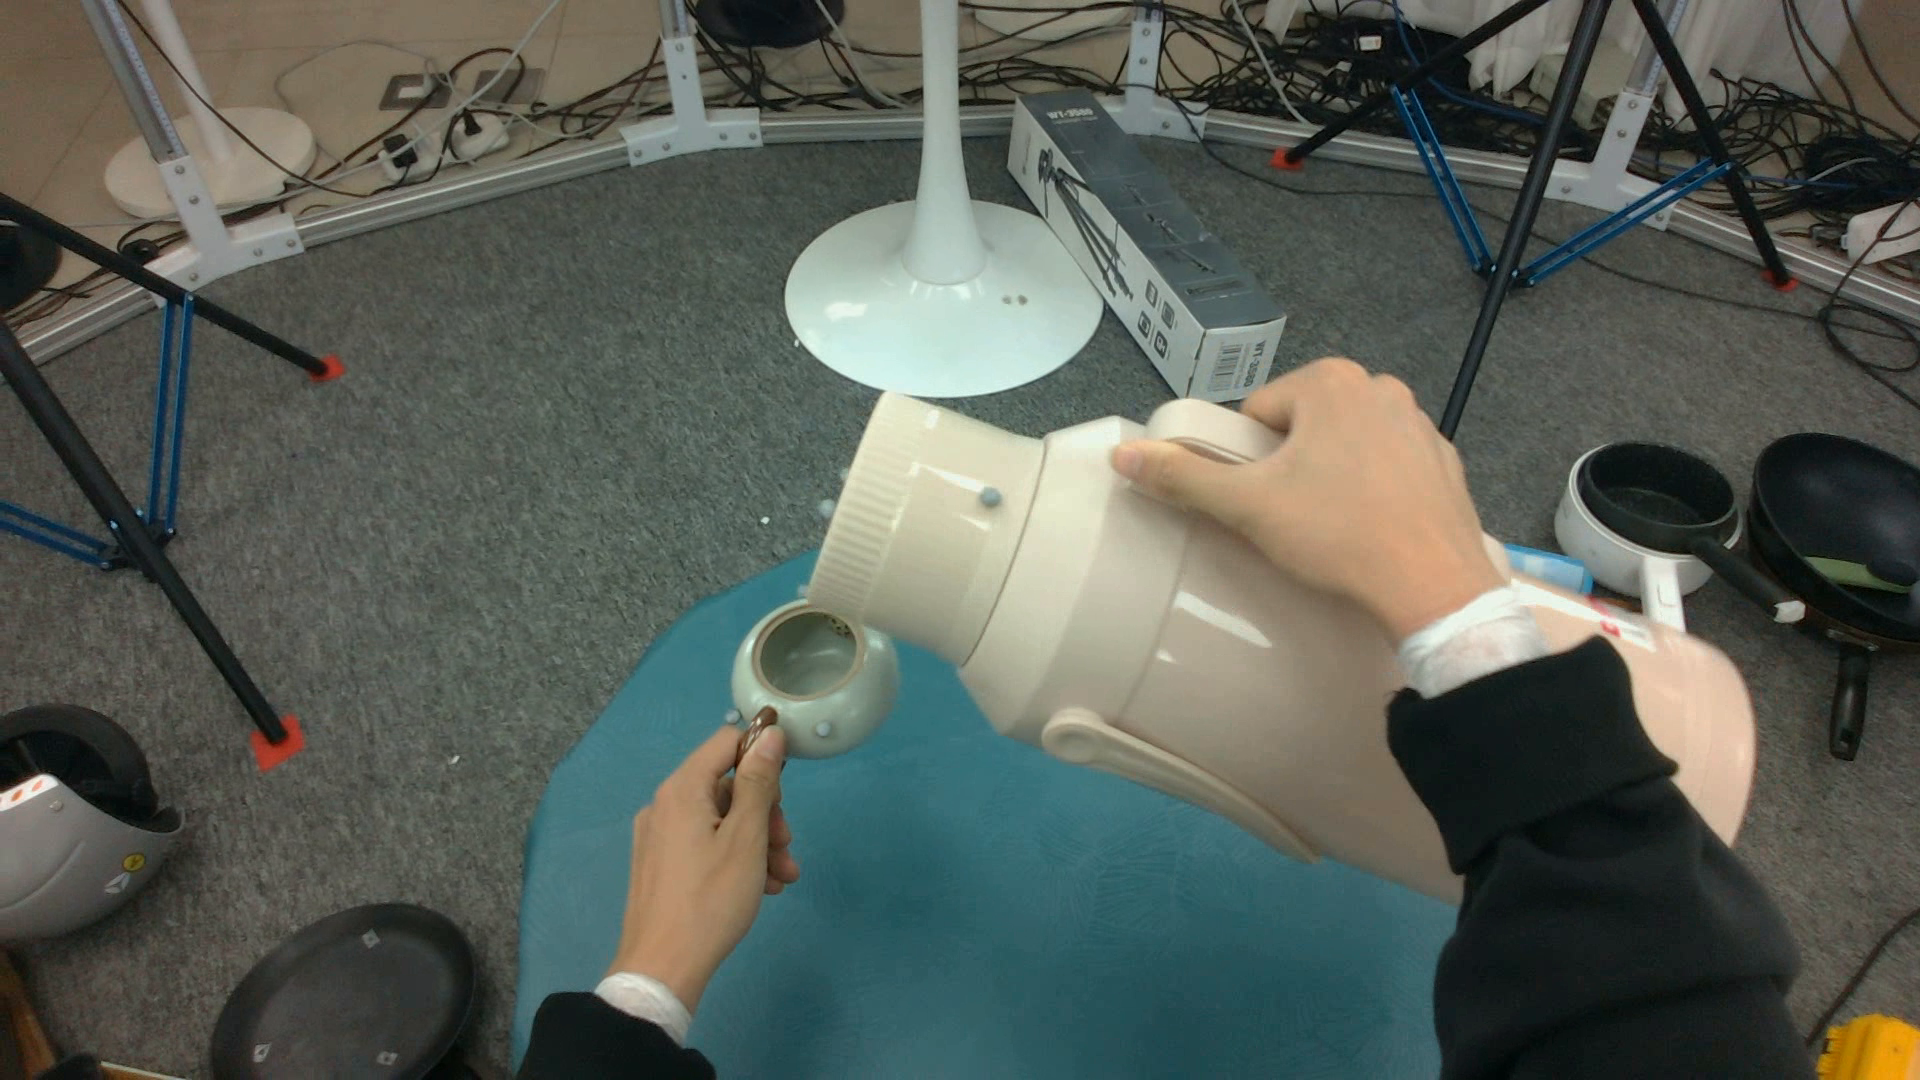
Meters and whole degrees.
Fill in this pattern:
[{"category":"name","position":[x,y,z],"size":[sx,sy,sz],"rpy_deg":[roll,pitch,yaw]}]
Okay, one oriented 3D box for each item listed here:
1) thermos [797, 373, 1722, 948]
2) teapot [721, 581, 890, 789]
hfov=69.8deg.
[{"category":"thermos","position":[0.135,0.040,0.632],"size":[0.406,0.206,0.176],"rpy_deg":[23,46,-7]},{"category":"teapot","position":[-0.088,0.078,0.745],"size":[0.092,0.059,0.128],"rpy_deg":[20,57,16]}]
